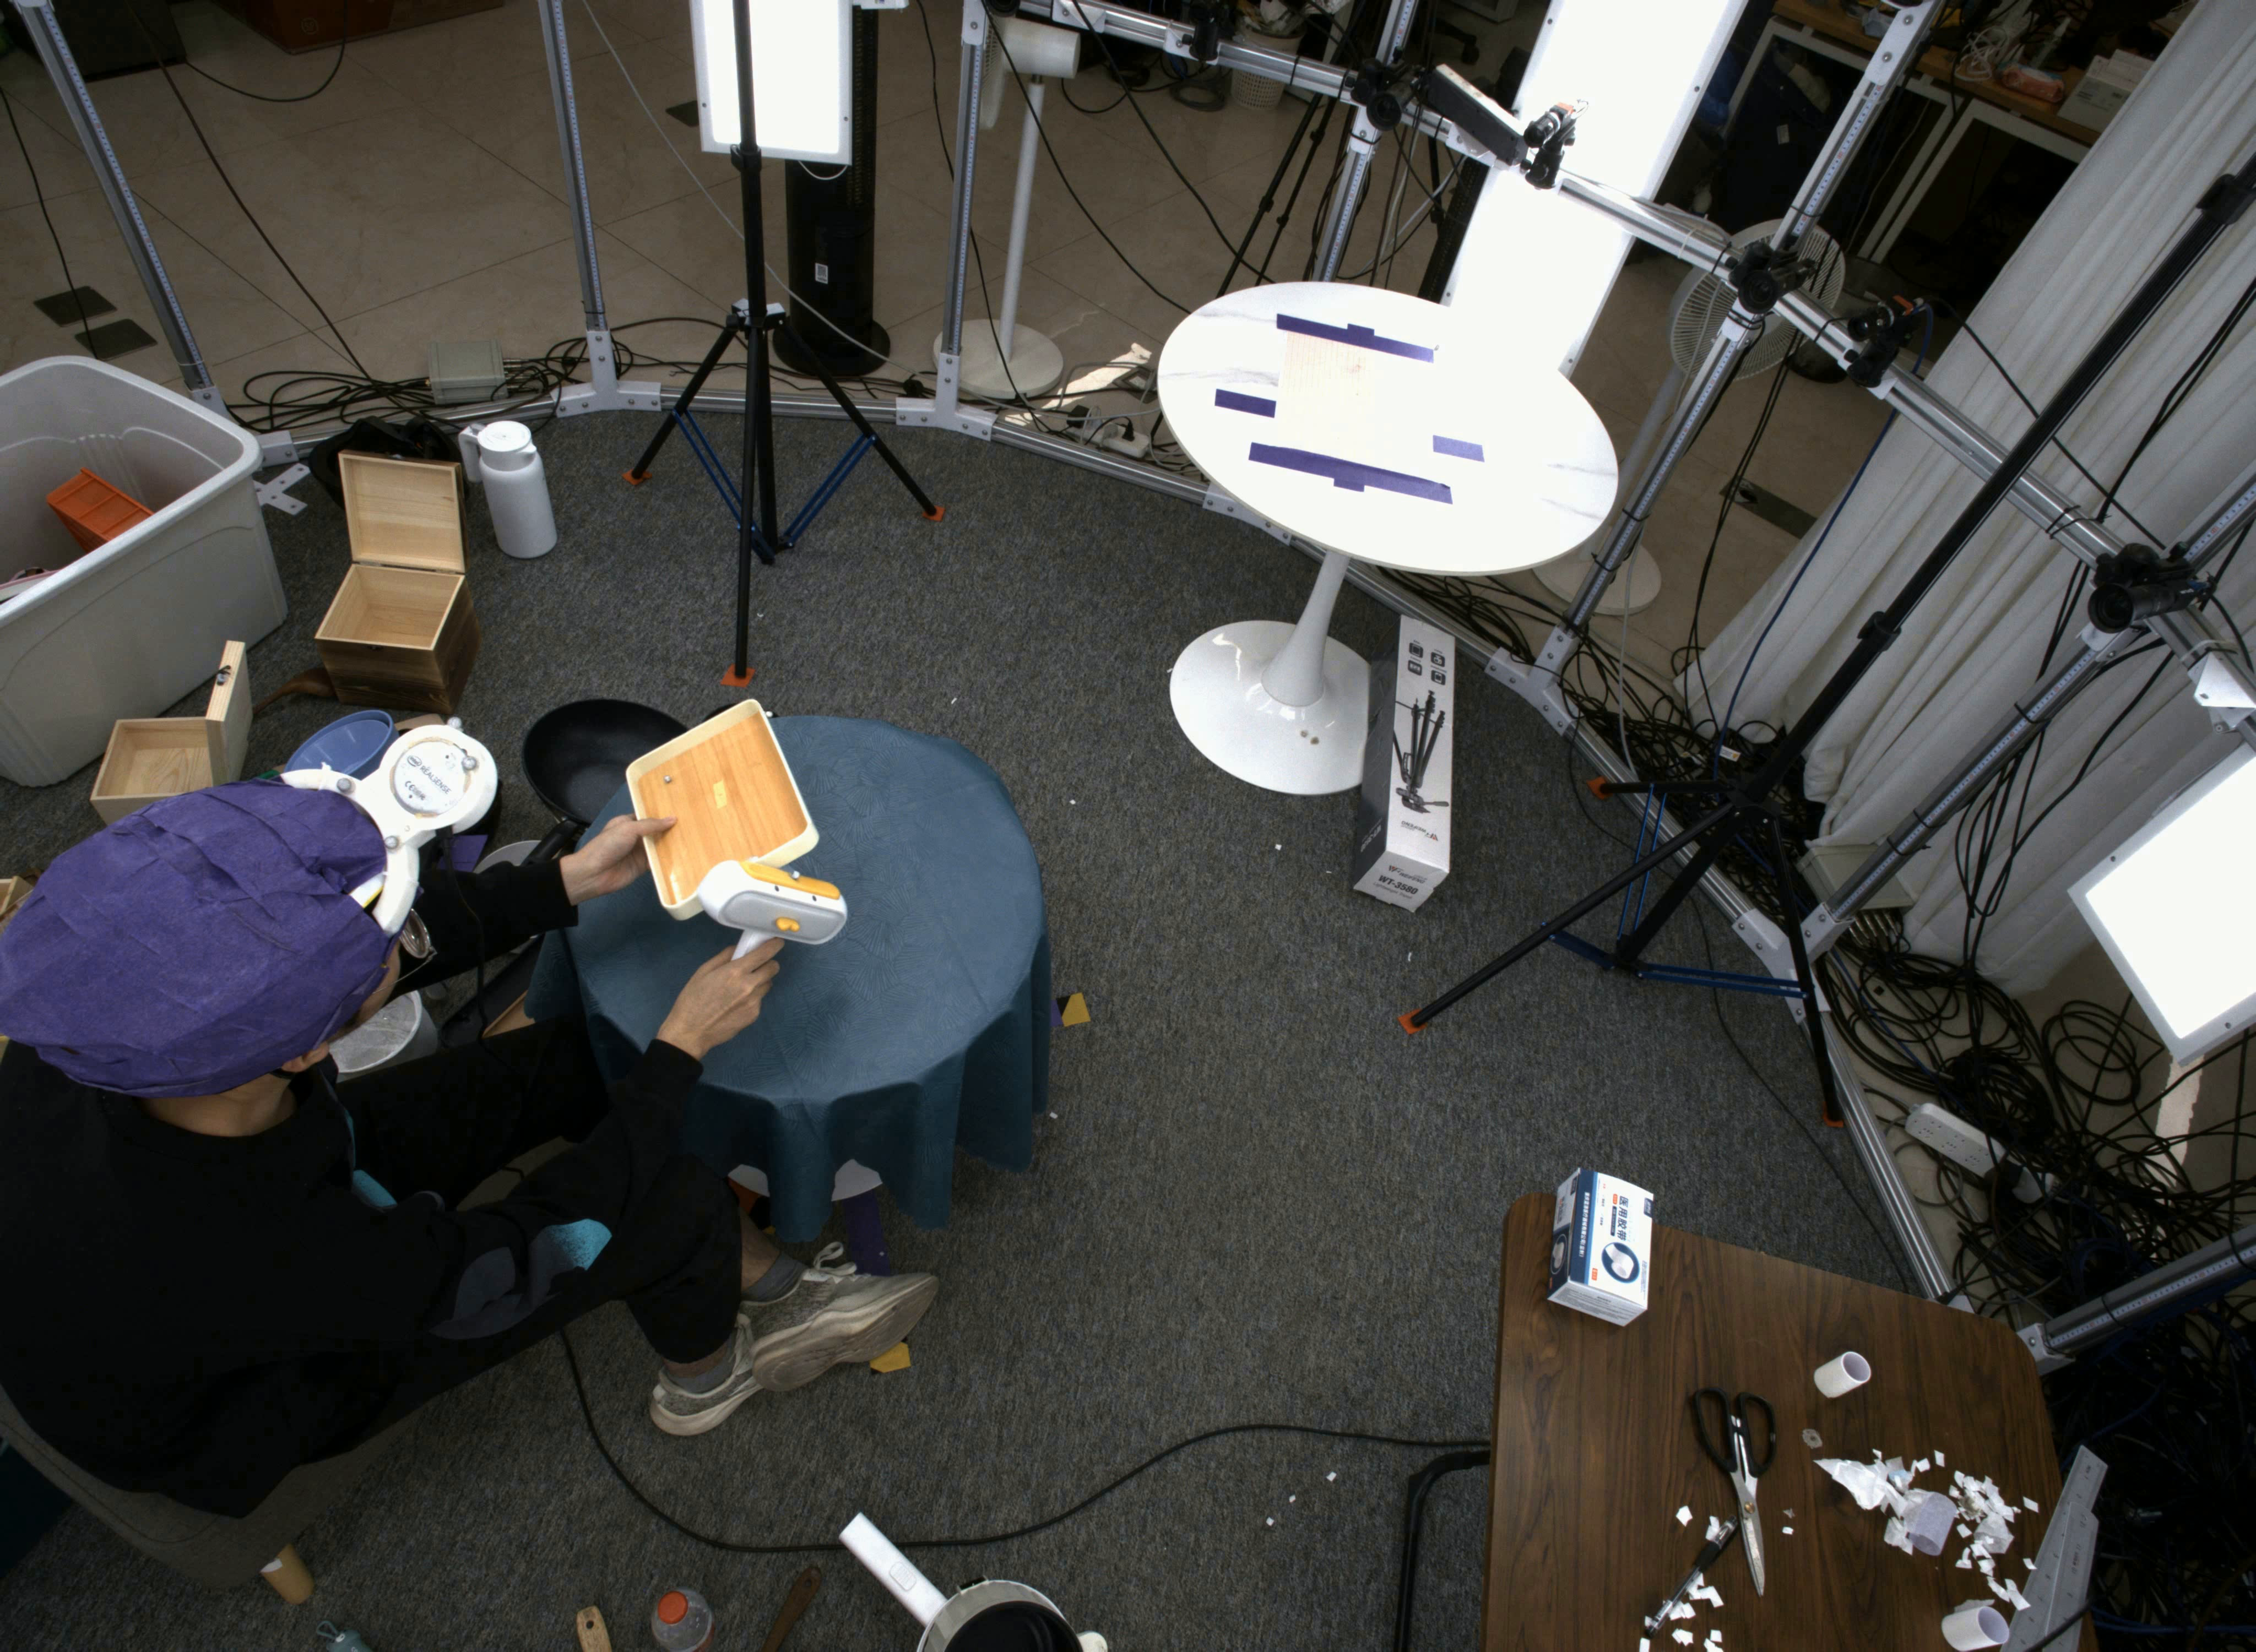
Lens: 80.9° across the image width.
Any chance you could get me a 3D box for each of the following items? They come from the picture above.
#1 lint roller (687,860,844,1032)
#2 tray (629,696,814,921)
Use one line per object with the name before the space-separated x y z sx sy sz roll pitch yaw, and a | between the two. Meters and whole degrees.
lint roller | -0.426 0.136 1.459 0.072 0.194 0.198 38 13 30
tray | -0.493 -0.029 1.541 0.191 0.028 0.290 -30 46 -6
